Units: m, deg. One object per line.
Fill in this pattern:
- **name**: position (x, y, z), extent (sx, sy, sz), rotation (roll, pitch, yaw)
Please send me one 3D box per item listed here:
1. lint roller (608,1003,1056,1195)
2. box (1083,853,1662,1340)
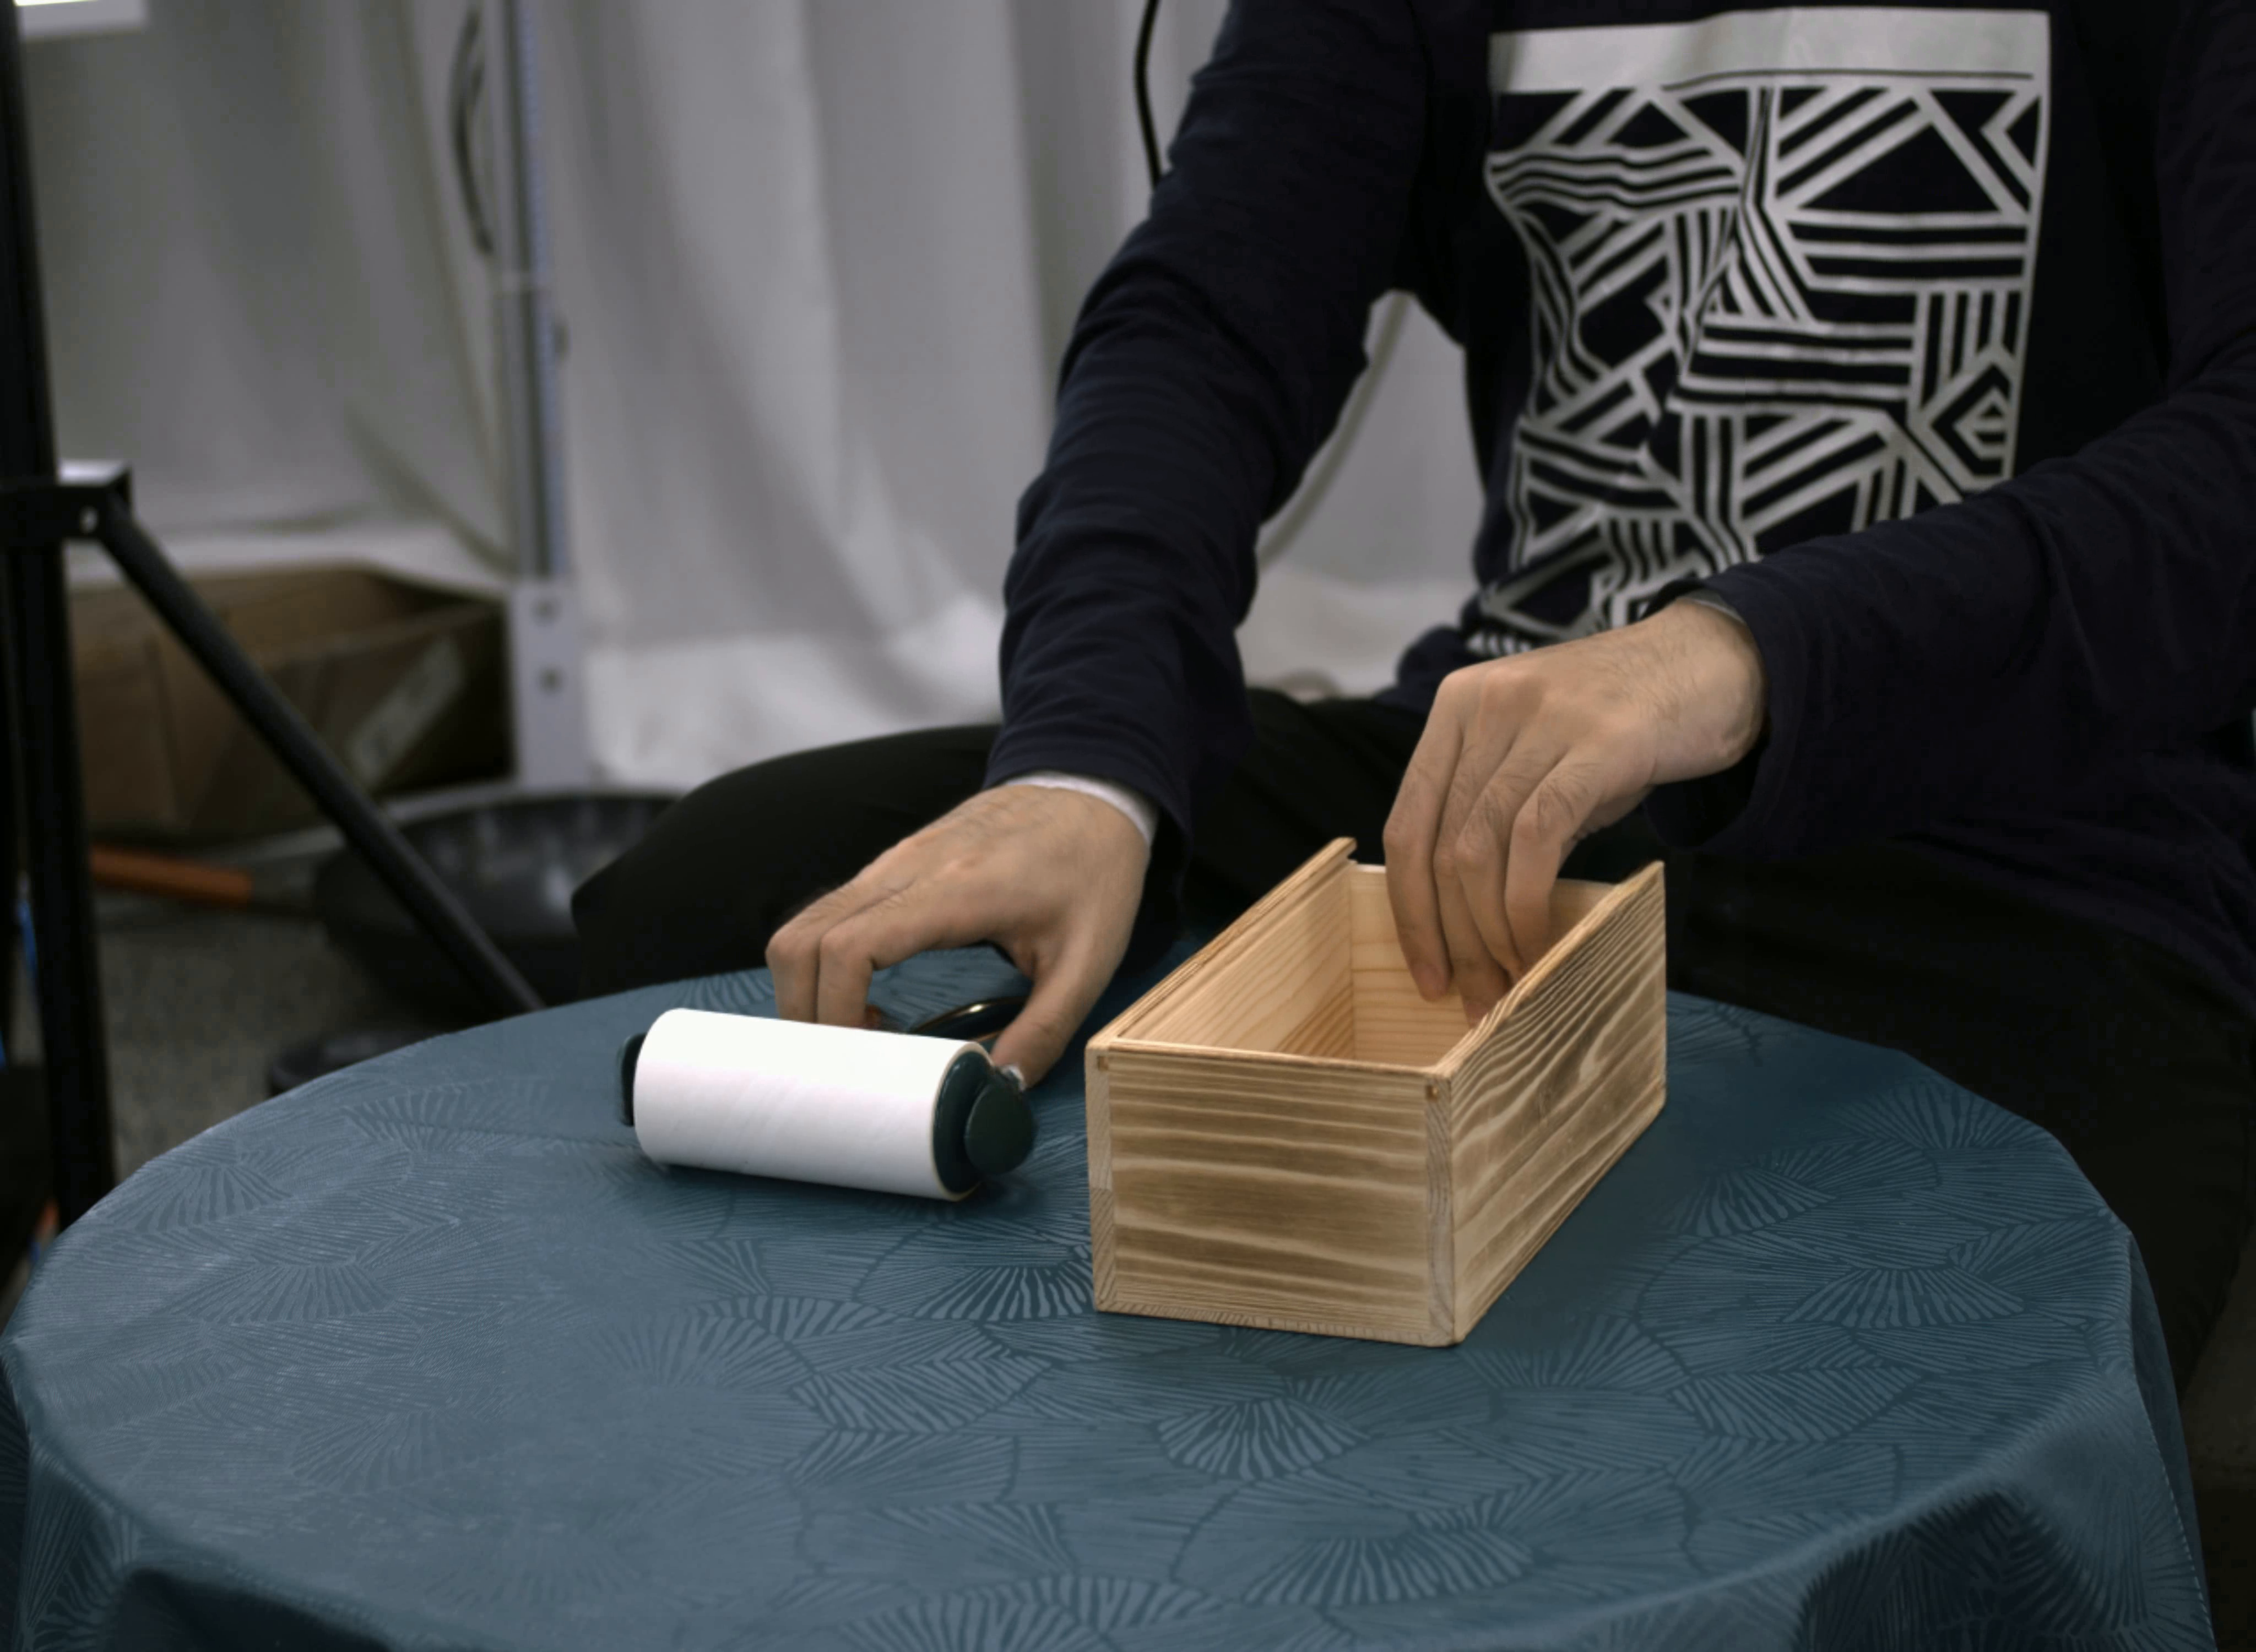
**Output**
- **lint roller**: position (-0.066, 0.070, 1.640), extent (0.136, 0.048, 0.177), rotation (5, 12, 25)
- **box**: position (0.075, 0.073, 1.528), extent (0.109, 0.080, 0.208), rotation (3, 15, 21)
